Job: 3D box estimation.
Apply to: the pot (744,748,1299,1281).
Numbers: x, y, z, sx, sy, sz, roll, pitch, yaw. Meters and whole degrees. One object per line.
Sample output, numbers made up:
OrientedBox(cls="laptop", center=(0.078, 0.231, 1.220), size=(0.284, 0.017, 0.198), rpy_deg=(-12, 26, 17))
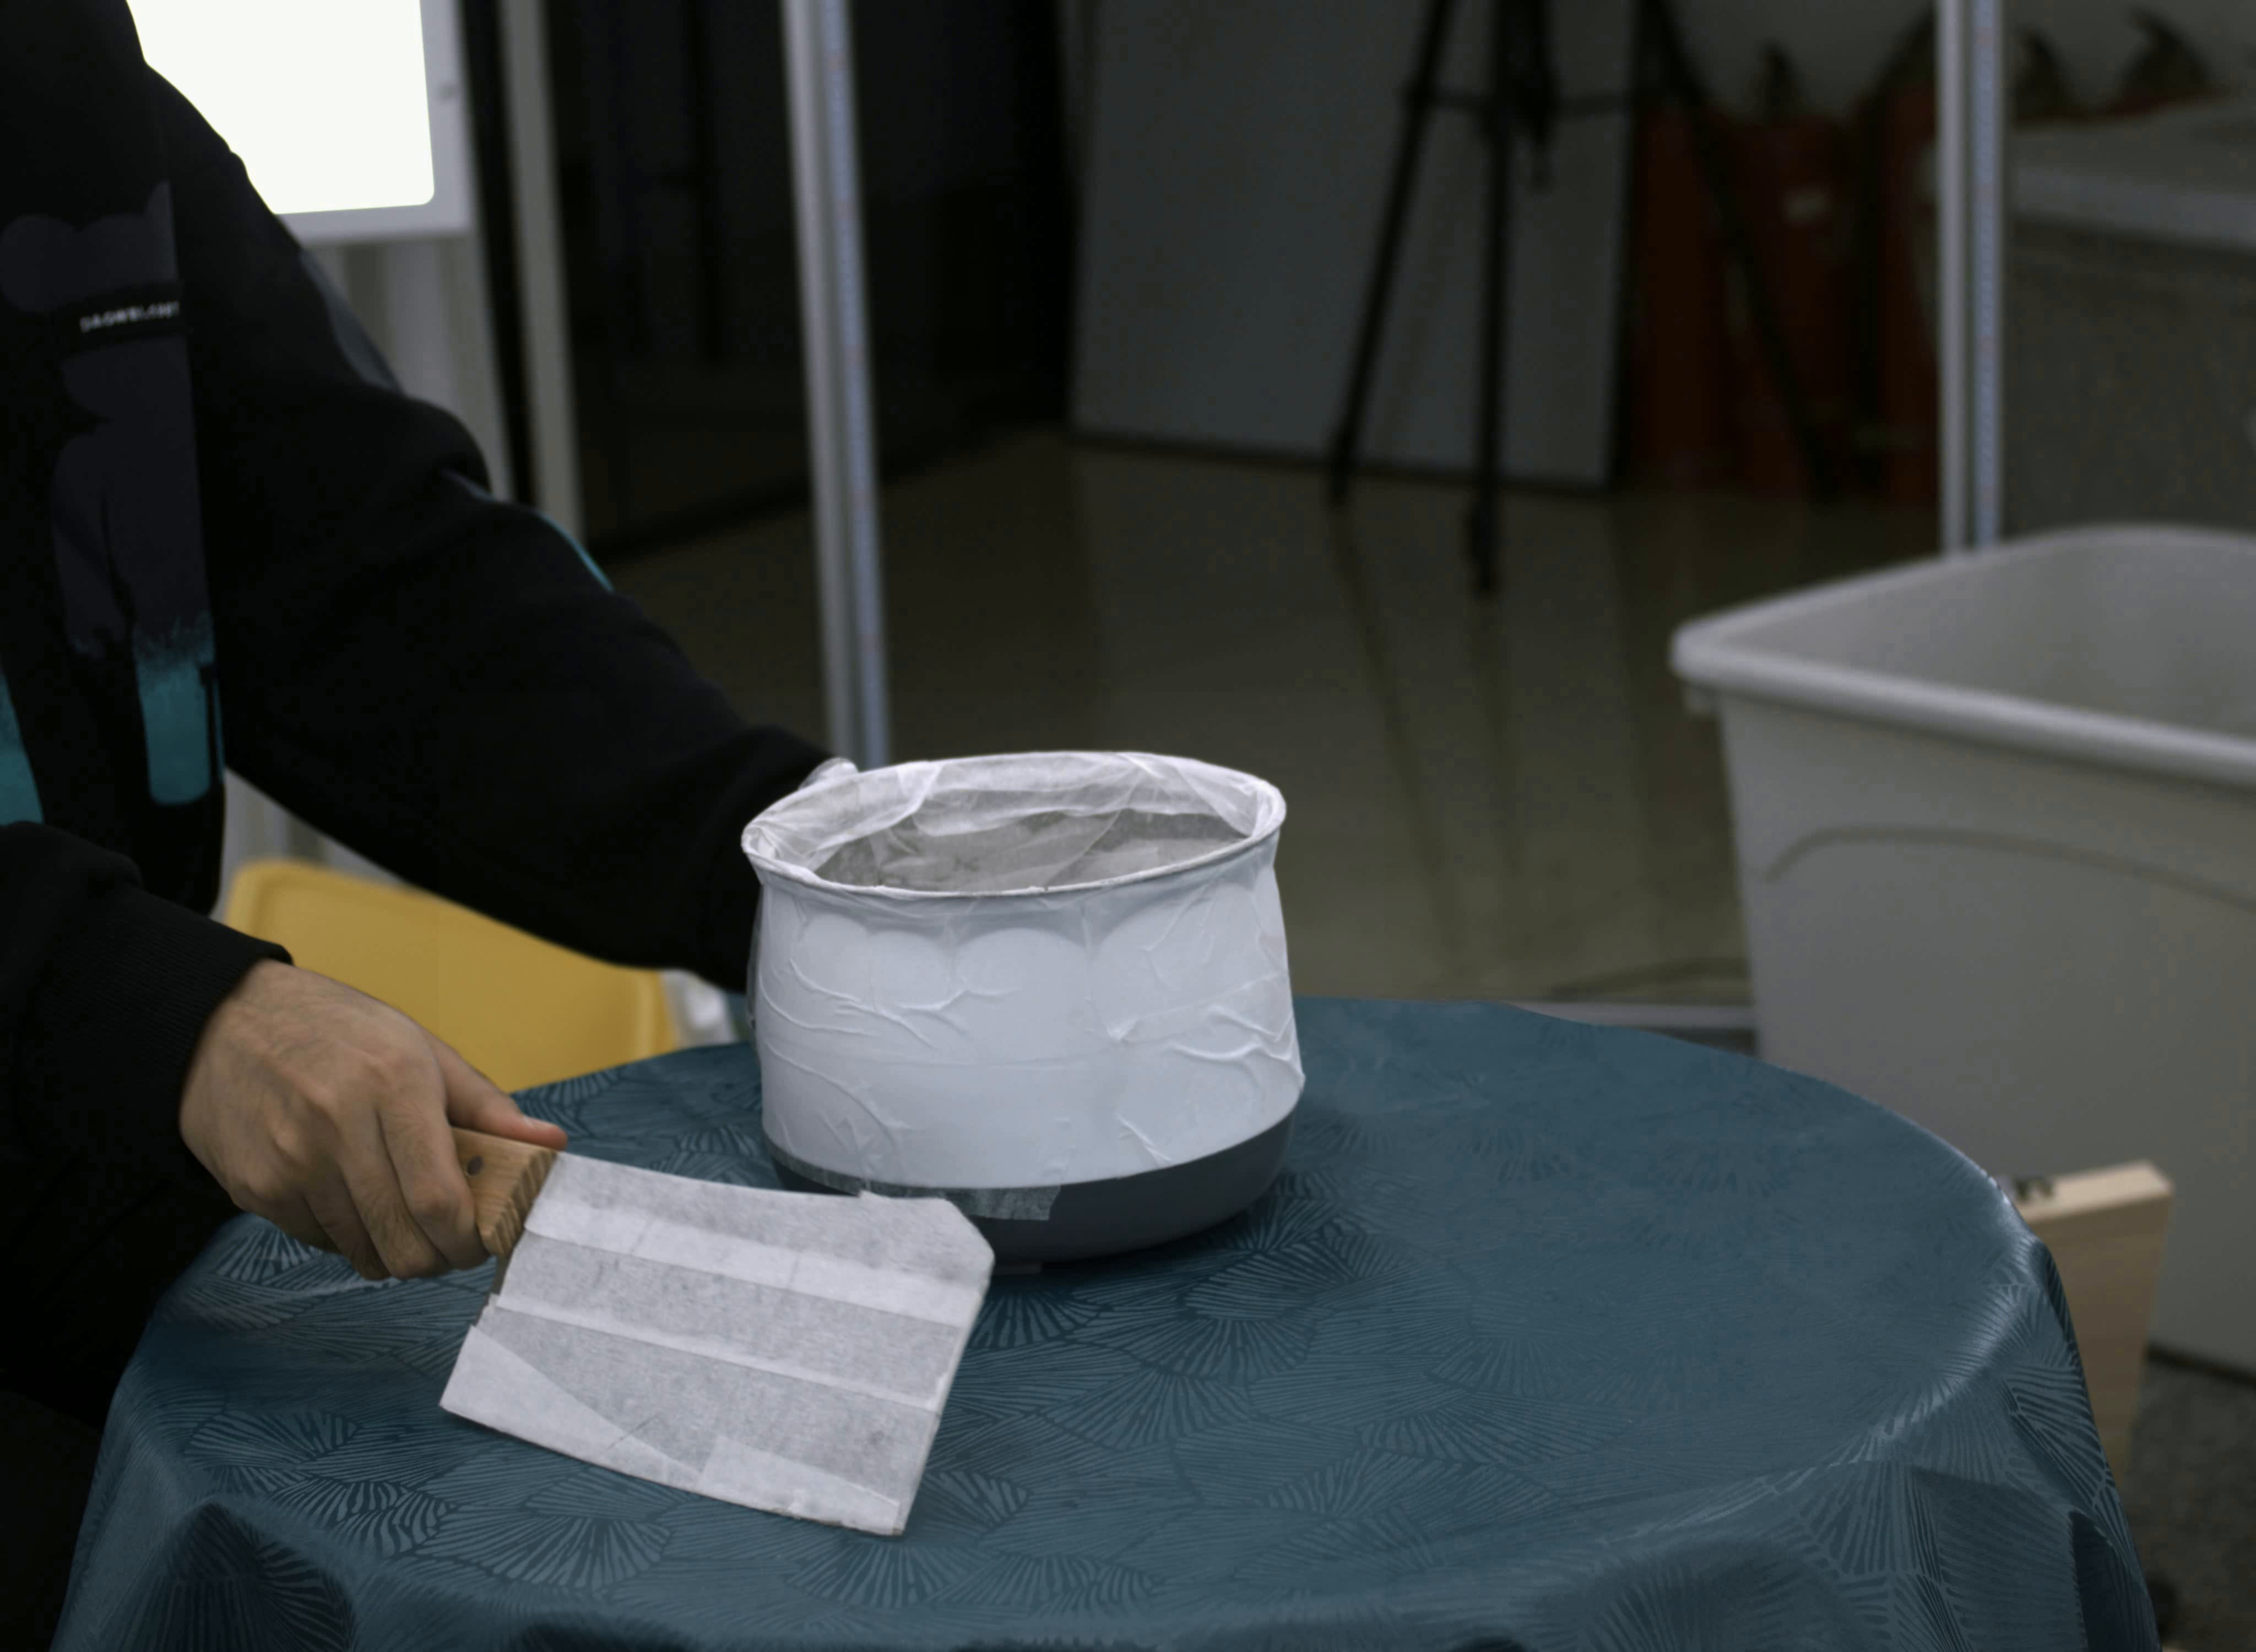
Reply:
OrientedBox(cls="pot", center=(-0.050, 0.055, 1.767), size=(0.175, 0.138, 0.236), rpy_deg=(-13, 17, -37))

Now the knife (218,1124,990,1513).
OrientedBox(cls="knife", center=(-0.160, 0.131, 1.595), size=(0.318, 0.114, 0.021), rpy_deg=(12, -20, 42))
